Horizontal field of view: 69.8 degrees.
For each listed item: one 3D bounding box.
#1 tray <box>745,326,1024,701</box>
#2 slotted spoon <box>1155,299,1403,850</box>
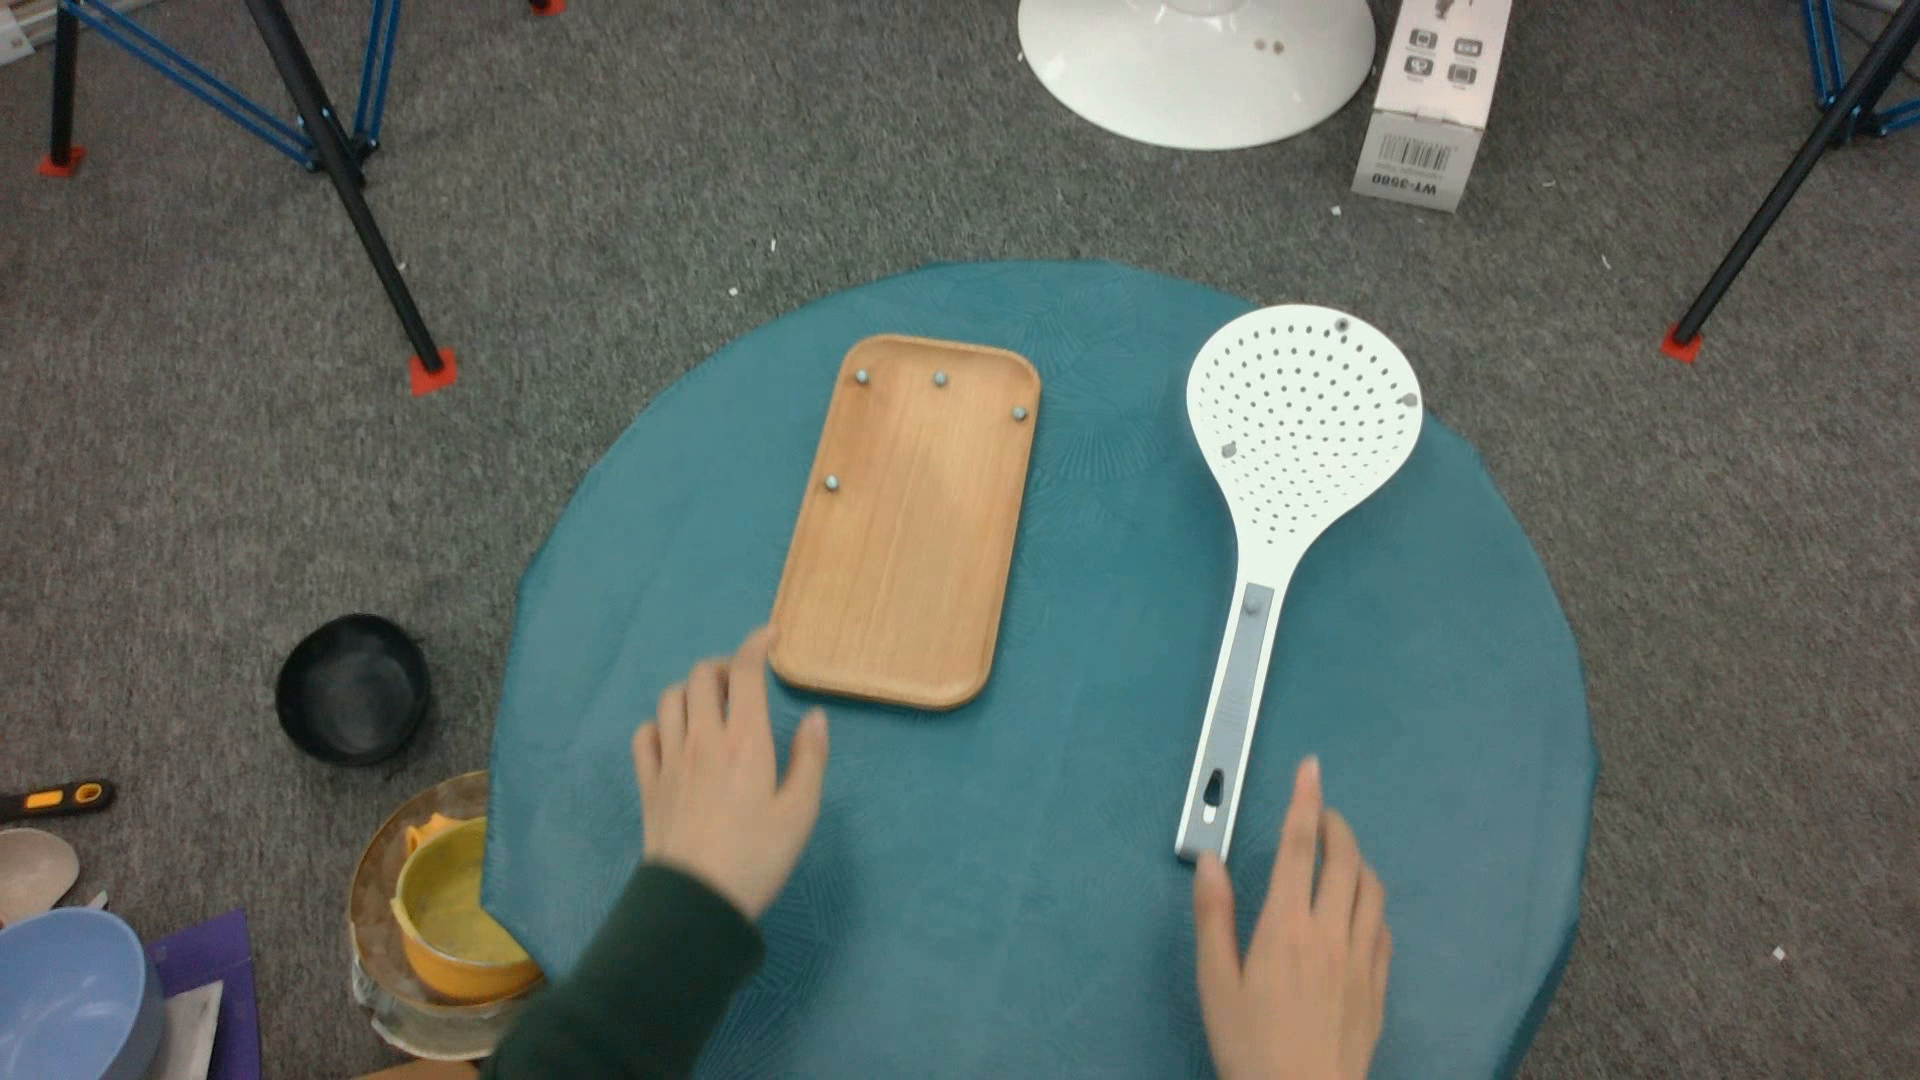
[{"bbox_3d":[-0.039,-0.023,0.811,0.130,0.023,0.252,8,58,6],"label":"tray"},{"bbox_3d":[0.164,0.007,0.779,0.136,0.045,0.351,14,59,10],"label":"slotted spoon"}]
